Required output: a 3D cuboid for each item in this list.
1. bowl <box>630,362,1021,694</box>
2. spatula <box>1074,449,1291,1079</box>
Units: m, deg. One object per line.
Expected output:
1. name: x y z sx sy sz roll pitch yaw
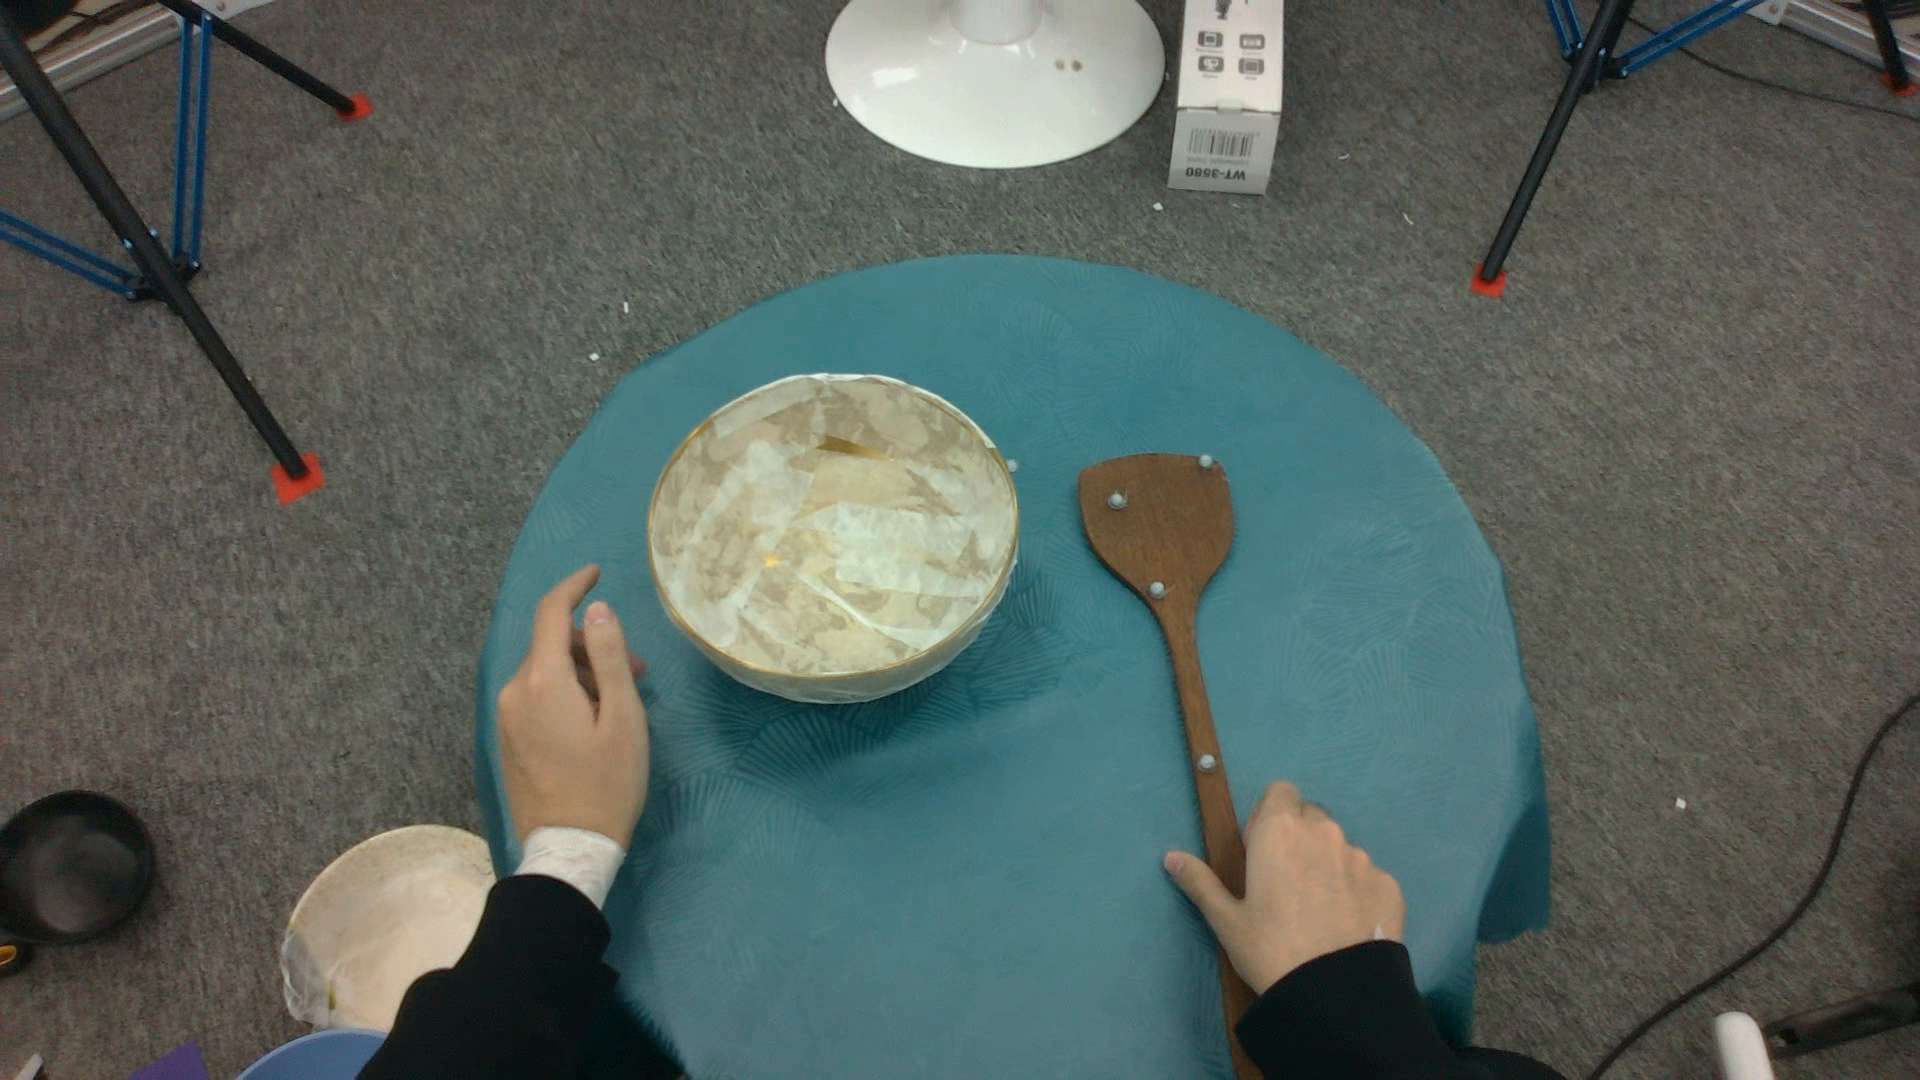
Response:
1. bowl: -0.074 0.008 0.771 0.215 0.094 0.215 1 56 -2
2. spatula: 0.130 0.103 0.756 0.096 0.016 0.387 -3 55 -3
